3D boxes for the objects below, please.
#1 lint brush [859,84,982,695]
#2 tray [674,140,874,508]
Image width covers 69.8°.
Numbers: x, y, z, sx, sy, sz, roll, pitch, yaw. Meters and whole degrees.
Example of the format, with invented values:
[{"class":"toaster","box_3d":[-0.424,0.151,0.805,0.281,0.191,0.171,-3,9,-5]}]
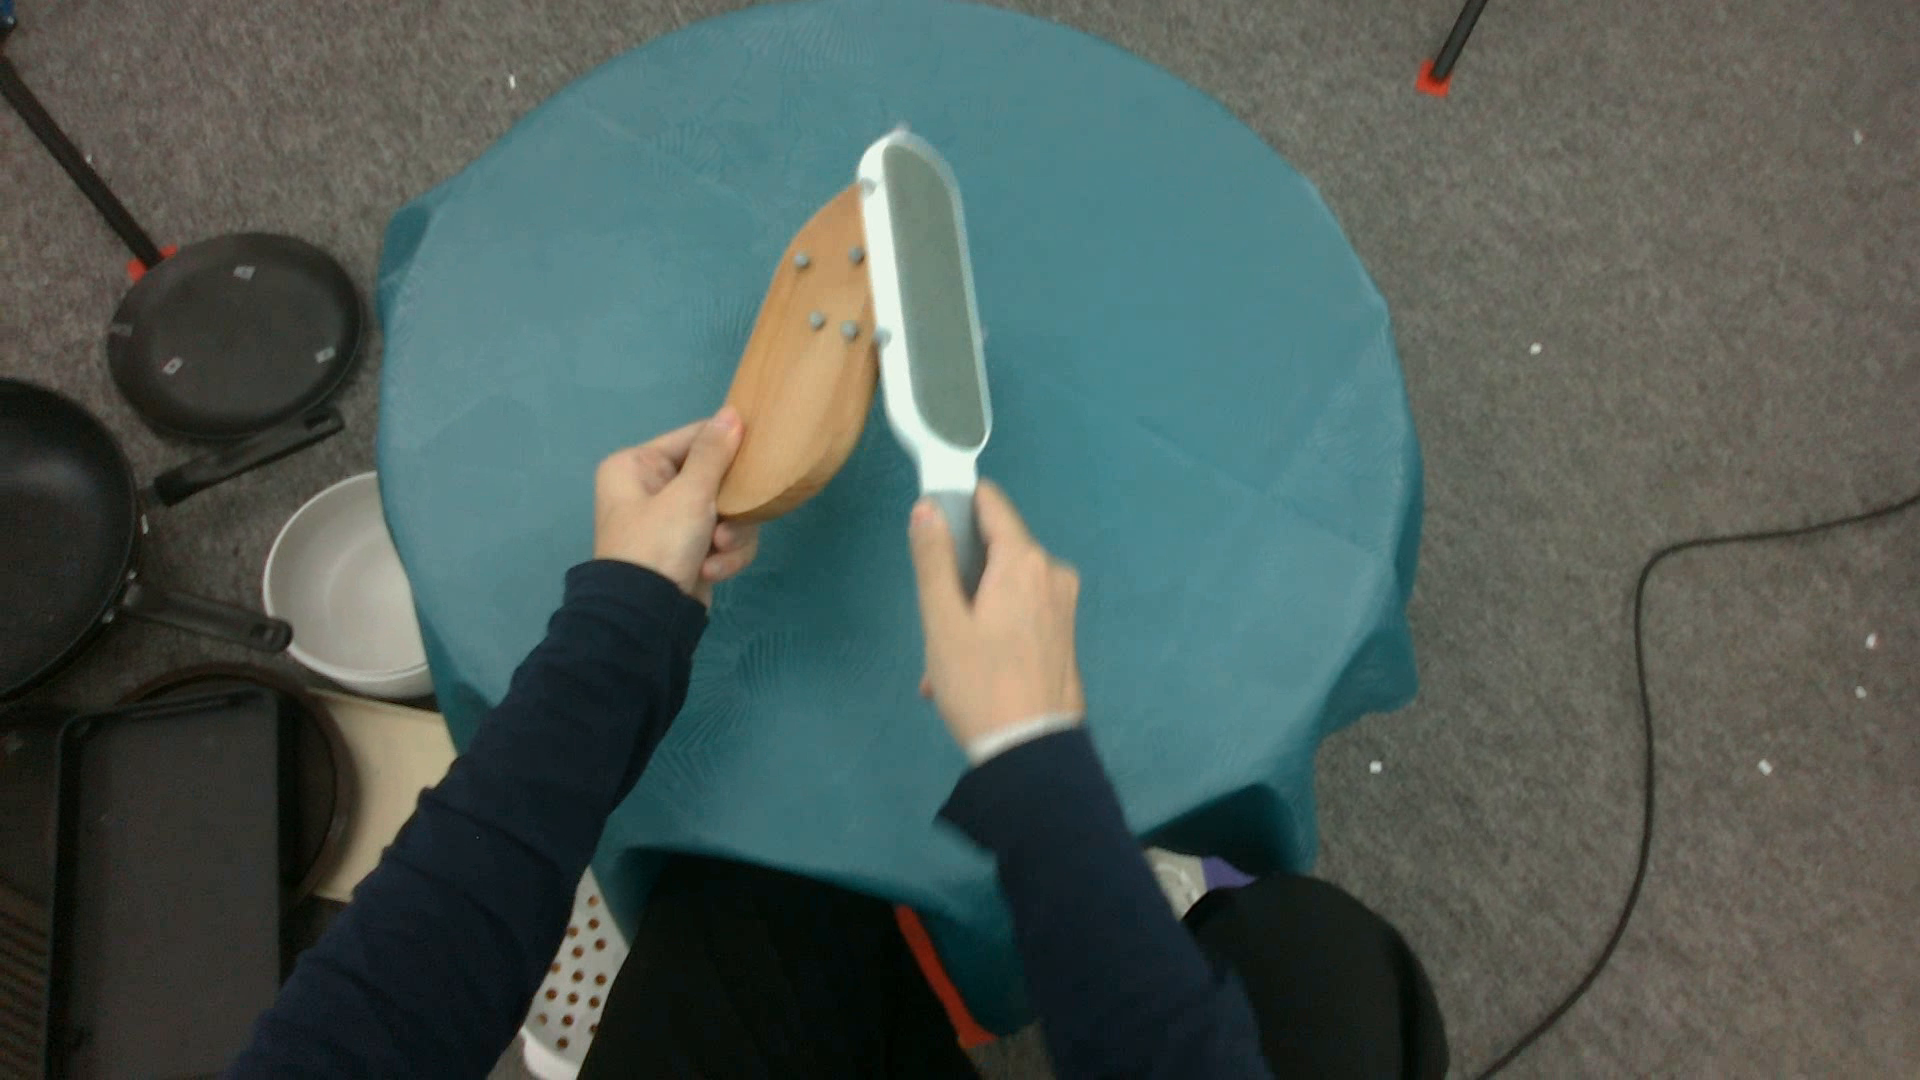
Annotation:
[{"class":"lint brush","box_3d":[-0.016,-0.080,0.643,0.060,0.021,0.309,16,62,-49]},{"class":"tray","box_3d":[-0.081,-0.112,0.685,0.020,0.101,0.232,40,49,-38]}]
